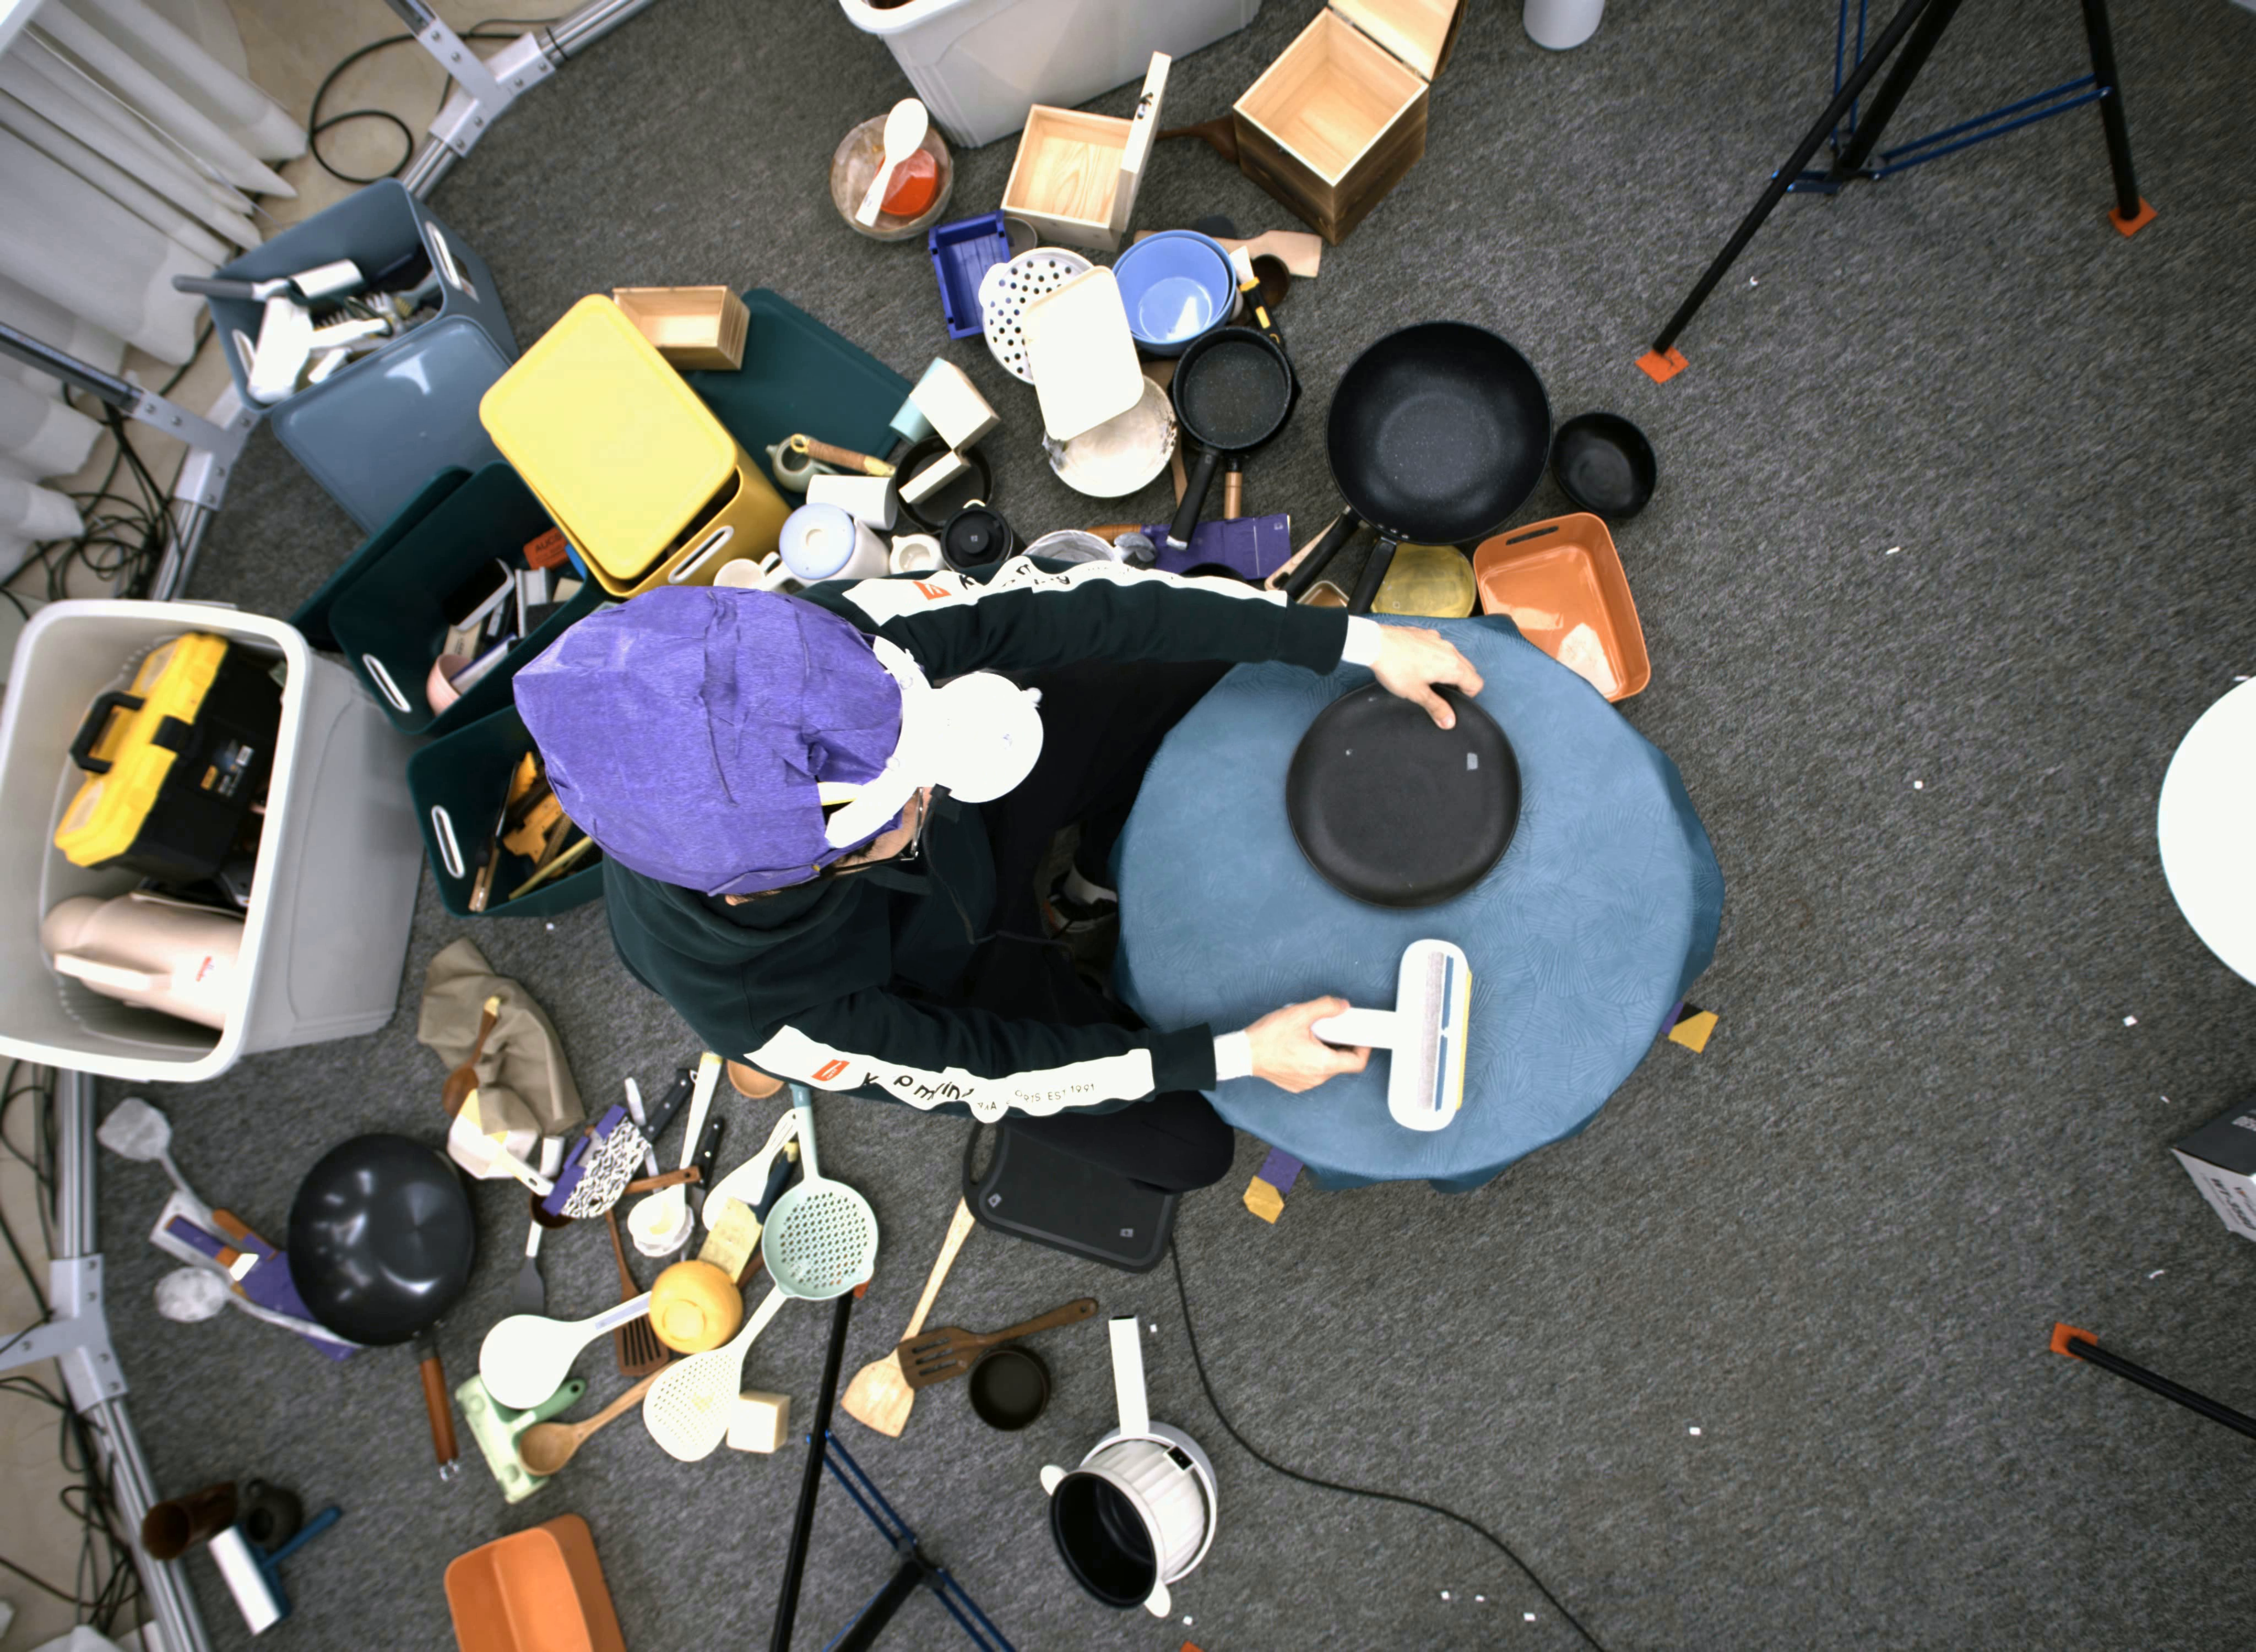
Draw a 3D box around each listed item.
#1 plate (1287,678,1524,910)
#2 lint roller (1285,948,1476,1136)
[{"bbox_3d":[0.289,-0.035,1.442,0.245,0.023,0.244,0,89,12],"label":"plate"},{"bbox_3d":[0.251,0.210,1.431,0.193,0.075,0.191,10,78,22],"label":"lint roller"}]
